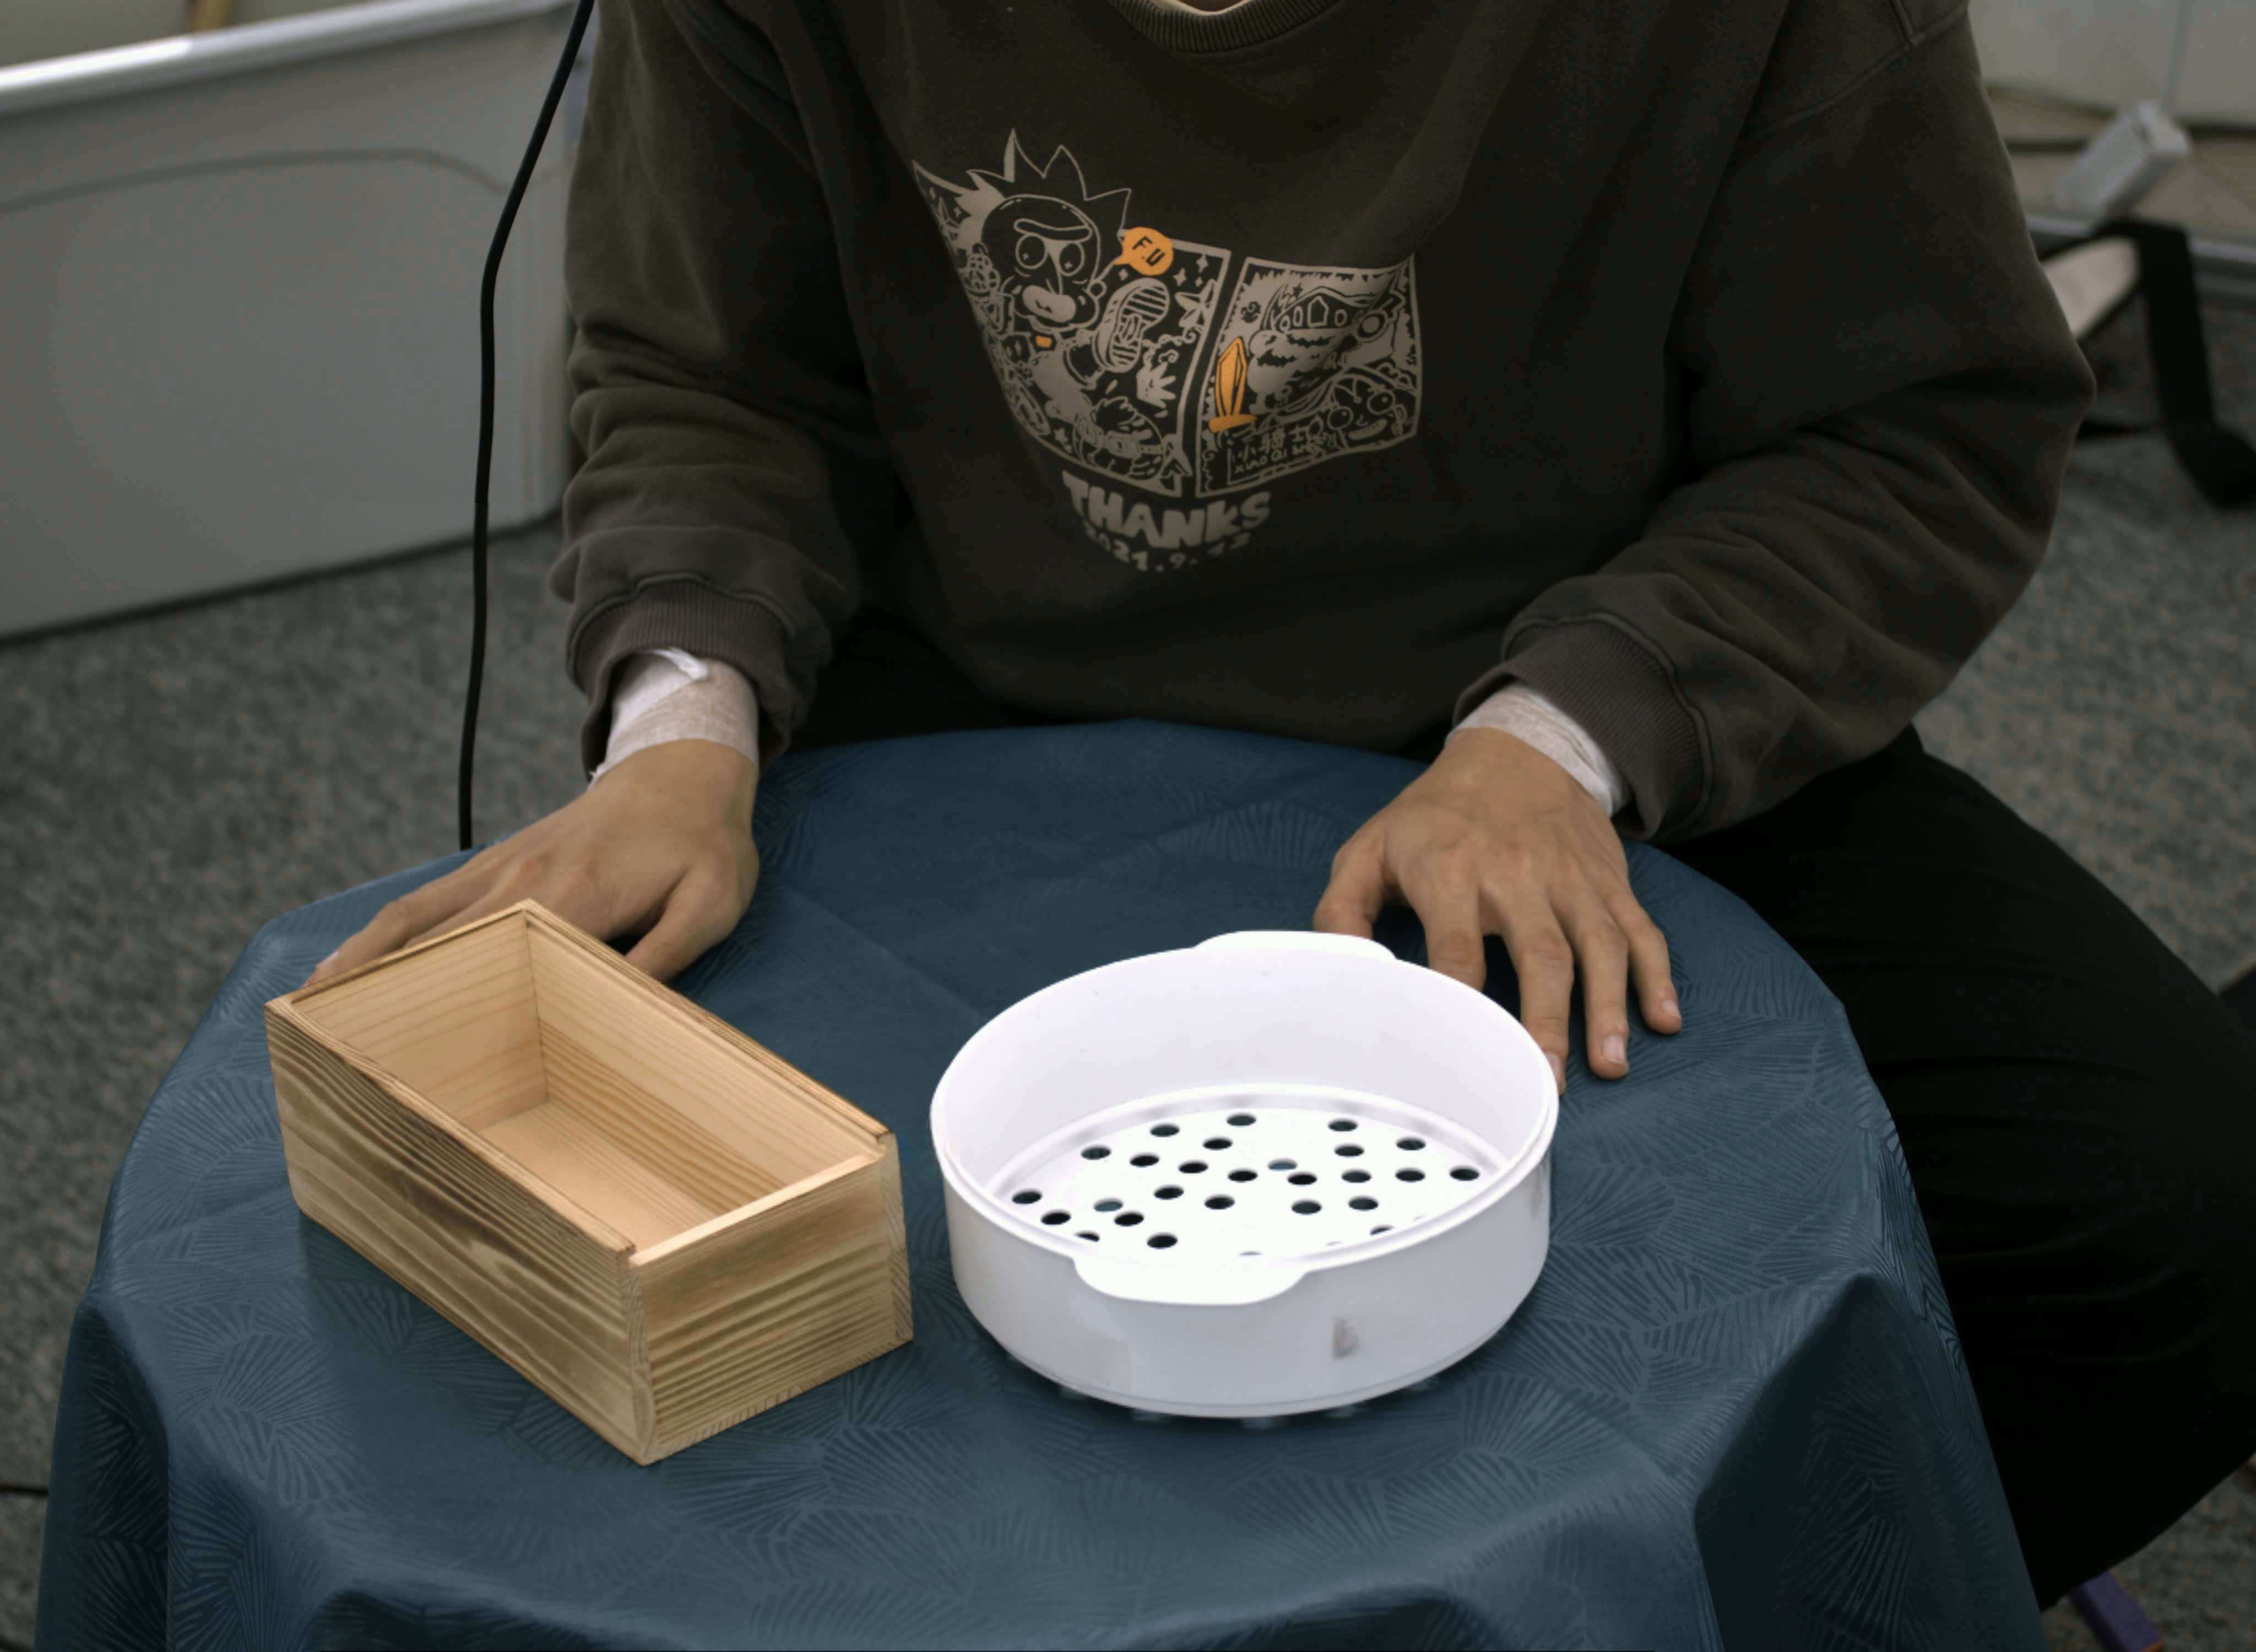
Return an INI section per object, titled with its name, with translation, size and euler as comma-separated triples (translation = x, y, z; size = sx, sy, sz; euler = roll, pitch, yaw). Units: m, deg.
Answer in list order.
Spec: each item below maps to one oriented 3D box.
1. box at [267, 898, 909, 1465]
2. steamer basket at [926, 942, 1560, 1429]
[box]
translation = -0.176, 0.111, 1.813
size = 0.108, 0.079, 0.211
euler = -22, 33, -33
[steamer basket]
translation = 0.037, 0.116, 1.794
size = 0.200, 0.068, 0.234
euler = 3, 27, 11
